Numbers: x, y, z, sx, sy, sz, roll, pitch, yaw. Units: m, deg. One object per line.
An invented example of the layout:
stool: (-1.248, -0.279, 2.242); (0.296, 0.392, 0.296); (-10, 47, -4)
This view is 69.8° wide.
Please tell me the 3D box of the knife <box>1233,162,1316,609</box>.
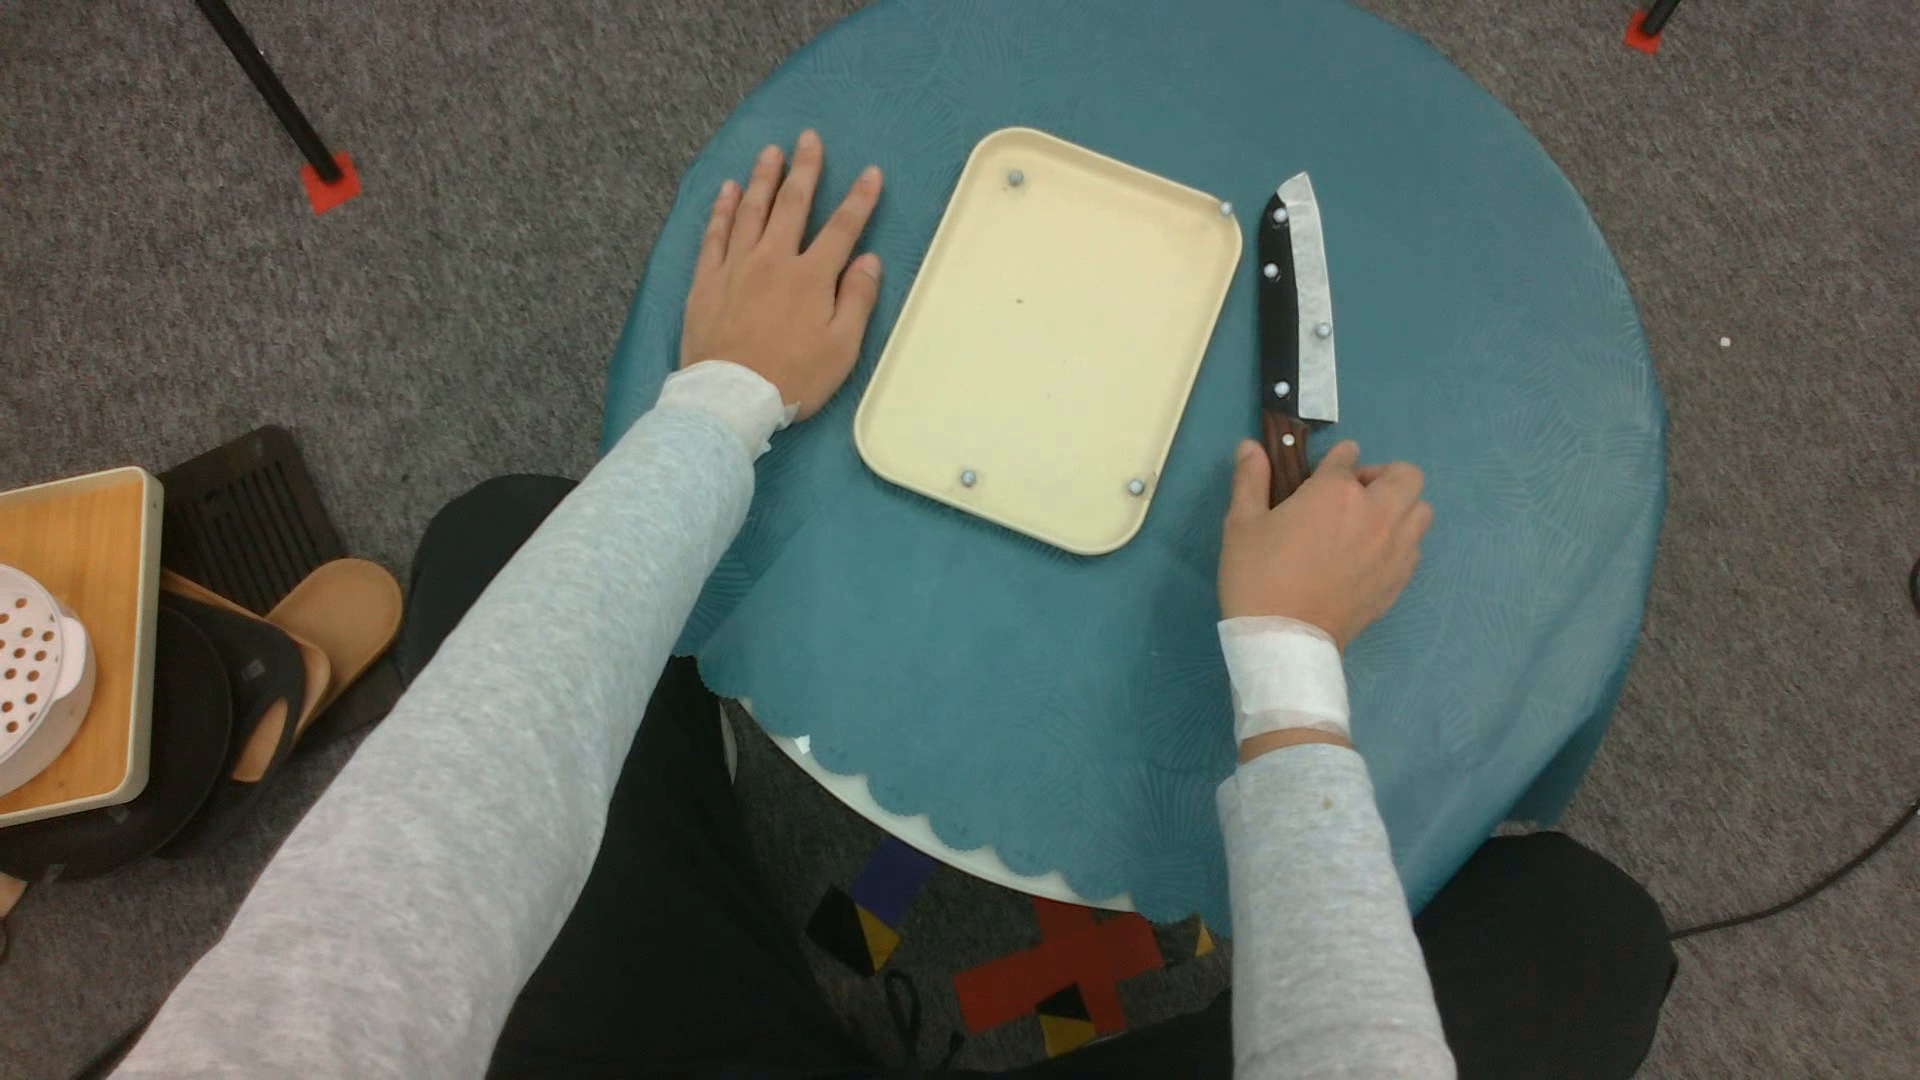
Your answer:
knife: (0.181, -0.098, 0.793); (0.050, 0.020, 0.290); (7, 69, -6)

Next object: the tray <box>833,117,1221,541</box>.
tray: (0.042, -0.124, 0.789); (0.171, 0.017, 0.240); (21, 72, 3)
